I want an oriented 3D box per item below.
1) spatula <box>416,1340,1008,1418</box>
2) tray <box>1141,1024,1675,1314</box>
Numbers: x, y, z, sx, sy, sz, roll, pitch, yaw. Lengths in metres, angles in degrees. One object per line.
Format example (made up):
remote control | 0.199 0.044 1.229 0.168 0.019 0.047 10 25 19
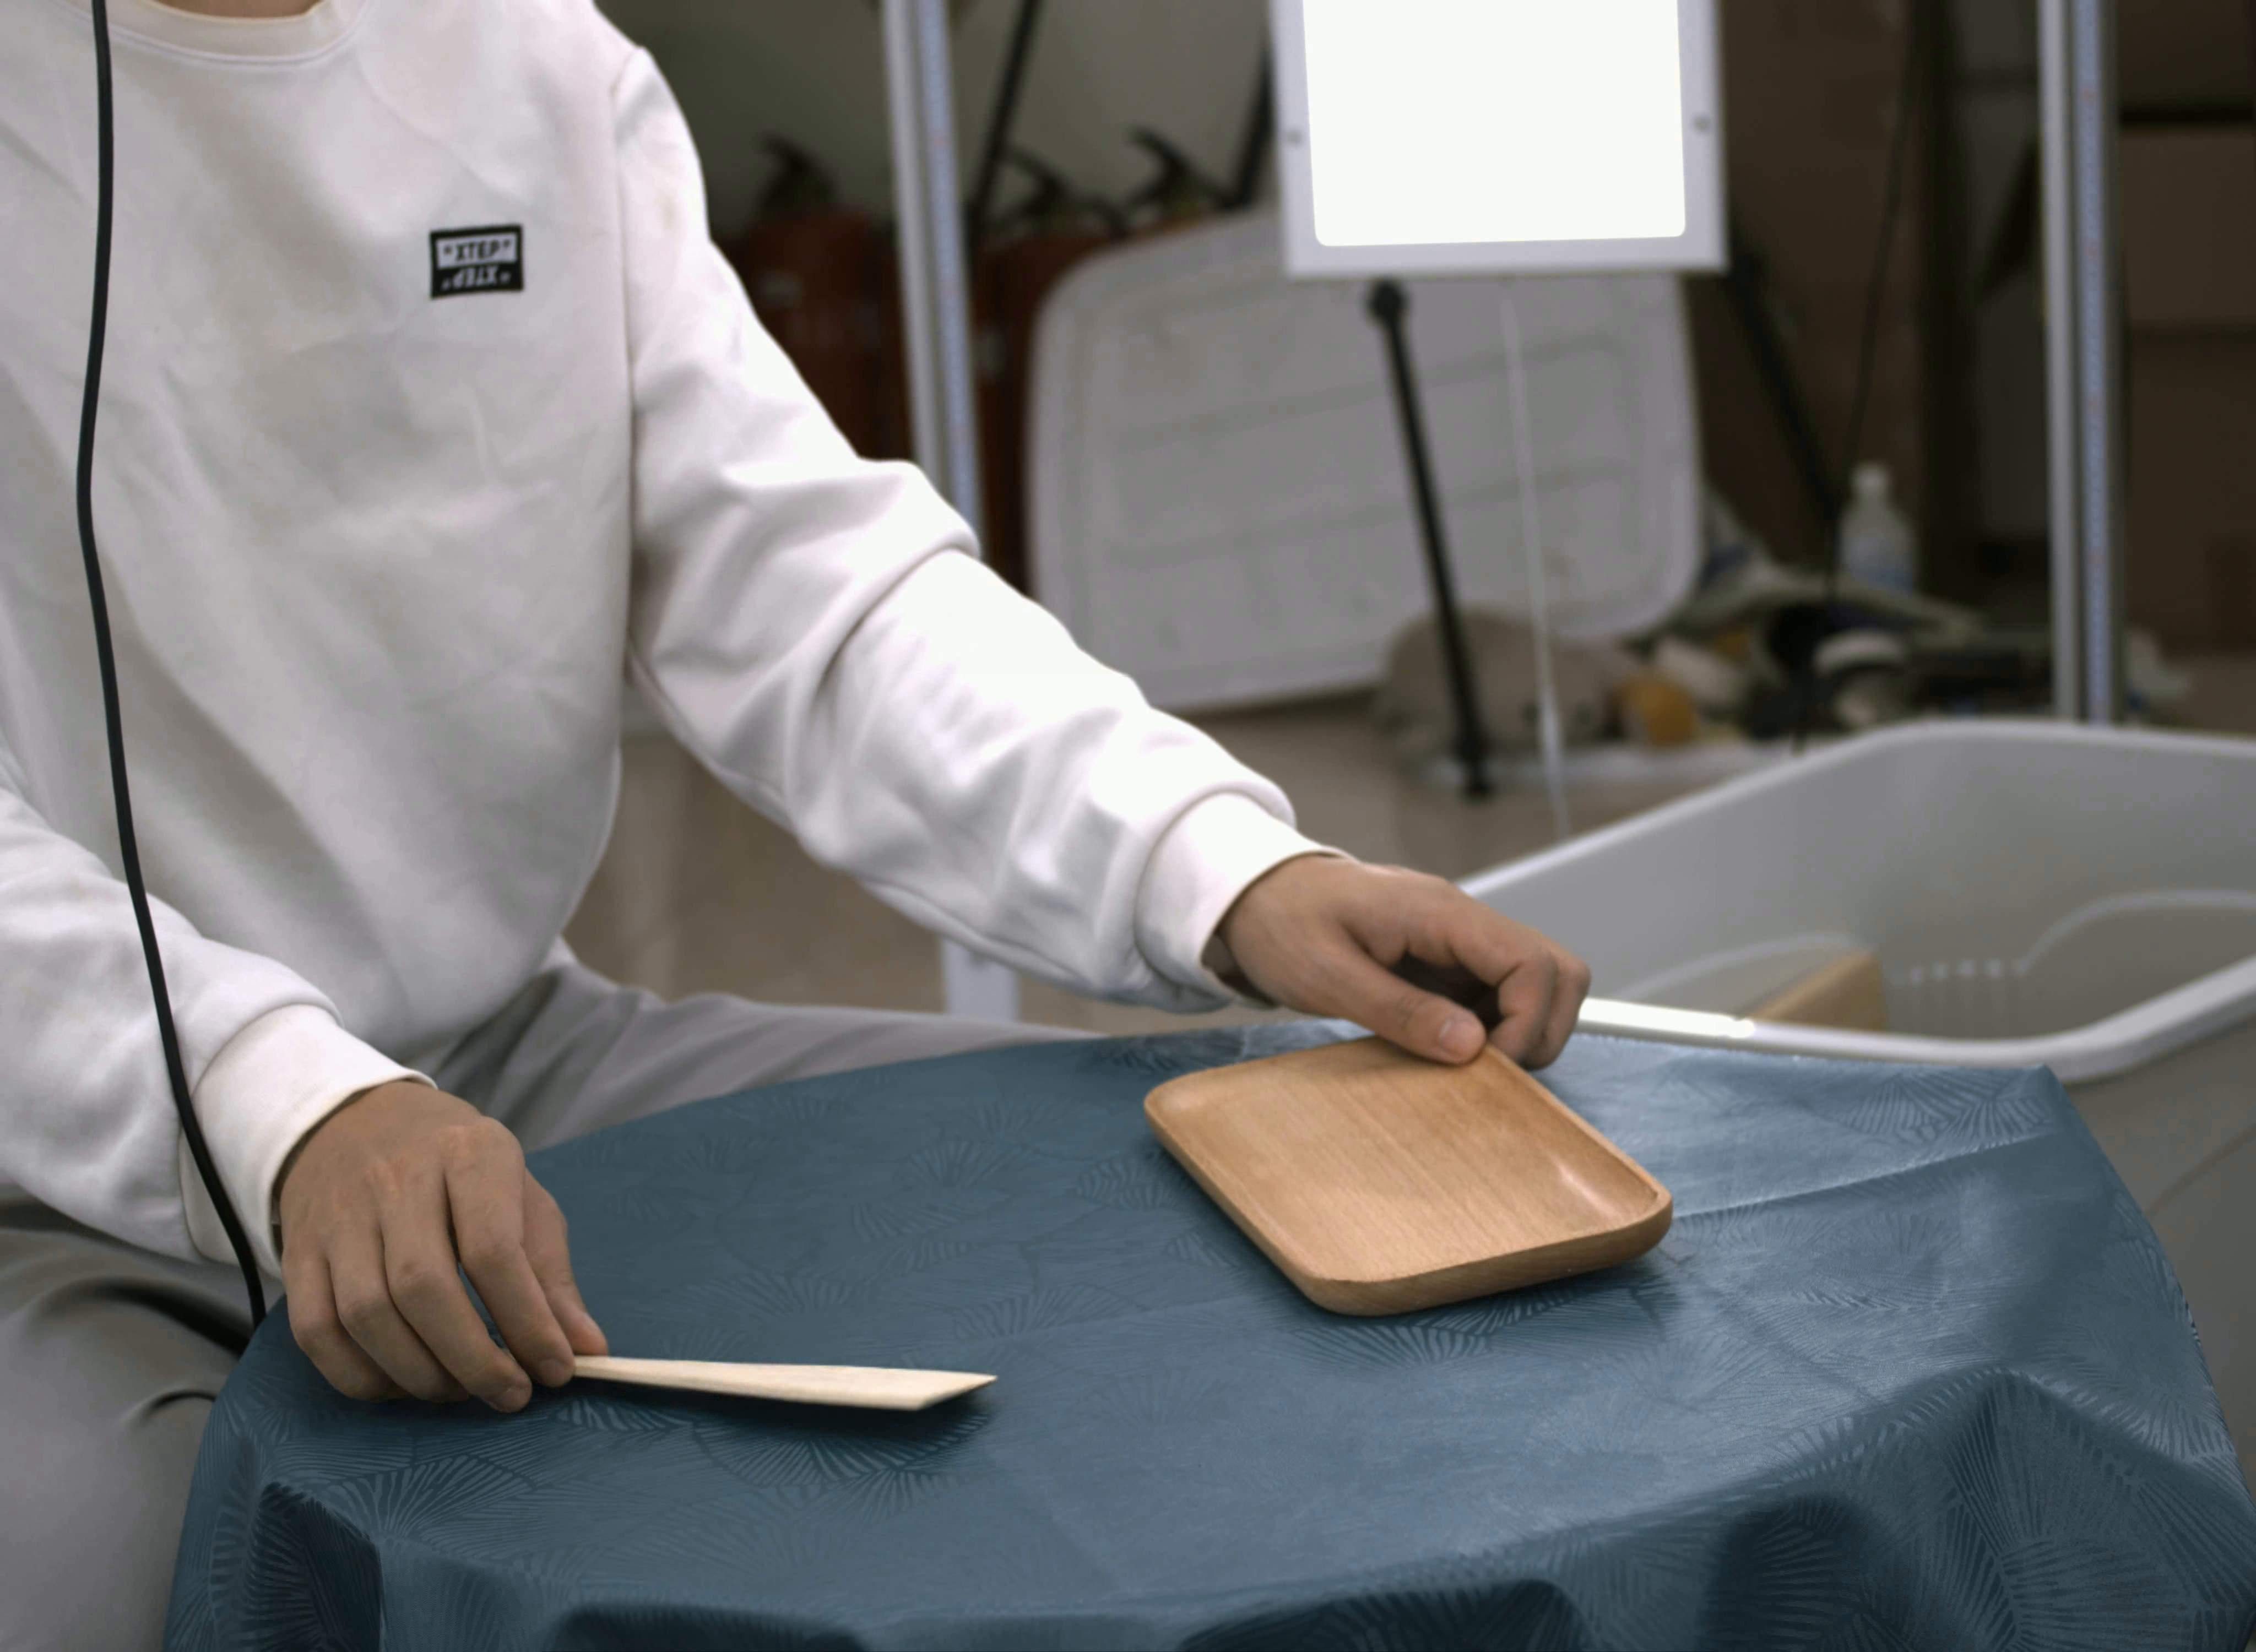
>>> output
spatula | -0.137 0.172 1.731 0.212 0.005 0.049 2 5 31
tray | 0.091 0.114 1.864 0.129 0.023 0.252 -9 14 -12
